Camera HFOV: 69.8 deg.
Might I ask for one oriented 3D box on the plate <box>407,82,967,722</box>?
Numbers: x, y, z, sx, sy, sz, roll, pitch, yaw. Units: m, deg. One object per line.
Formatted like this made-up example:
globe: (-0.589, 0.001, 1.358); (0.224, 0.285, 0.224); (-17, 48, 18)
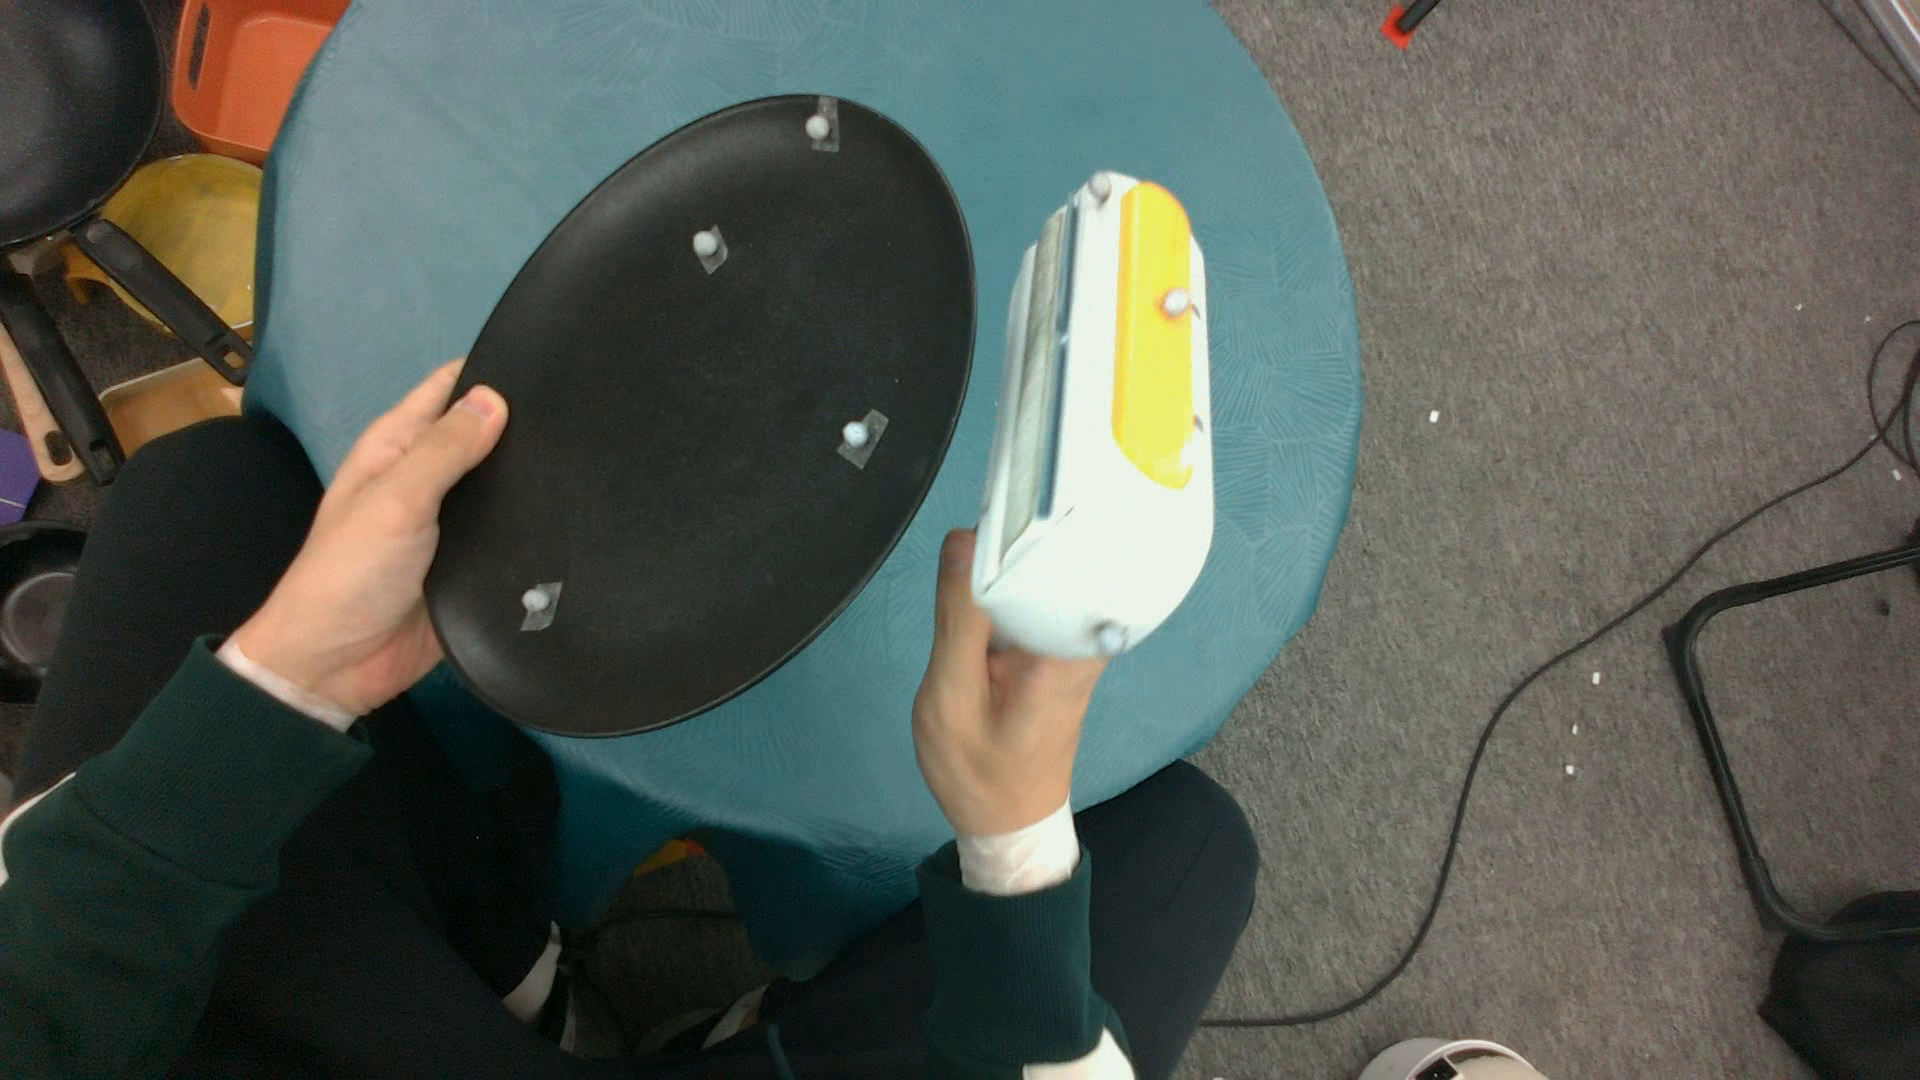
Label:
plate: (-0.100, -0.052, 0.485); (0.023, 0.244, 0.245); (36, 59, -53)

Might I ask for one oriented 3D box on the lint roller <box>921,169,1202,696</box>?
lint roller: (0.017, -0.009, 0.478); (0.074, 0.191, 0.194); (18, 48, -18)
